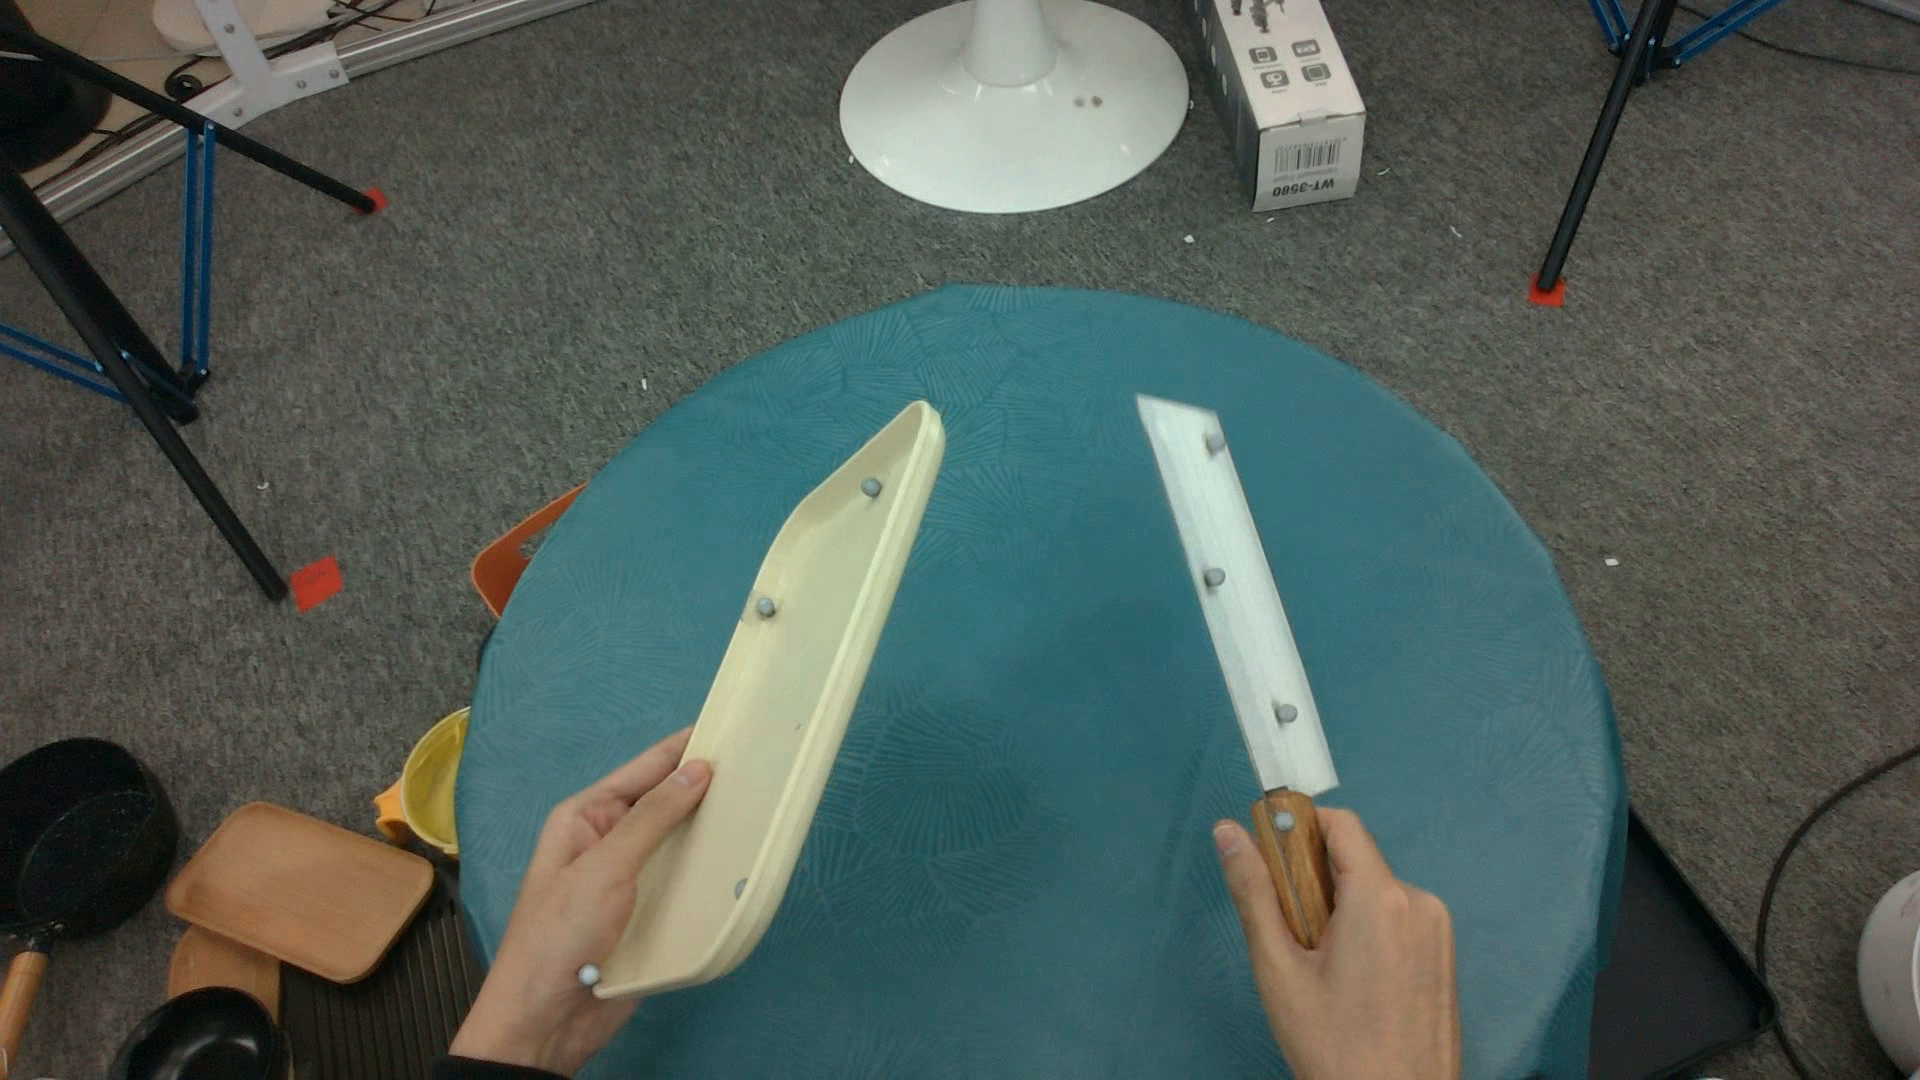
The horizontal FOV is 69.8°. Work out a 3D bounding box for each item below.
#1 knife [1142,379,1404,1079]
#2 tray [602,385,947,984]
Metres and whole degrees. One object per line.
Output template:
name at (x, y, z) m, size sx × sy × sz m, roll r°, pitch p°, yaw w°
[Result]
knife at (0.141, 0.071, 0.602) m, size 0.021 × 0.093 × 0.306 m, roll -21°, pitch 79°, yaw 30°
tray at (-0.073, 0.058, 0.554) m, size 0.017 × 0.170 × 0.241 m, roll 29°, pitch 59°, yaw -19°
